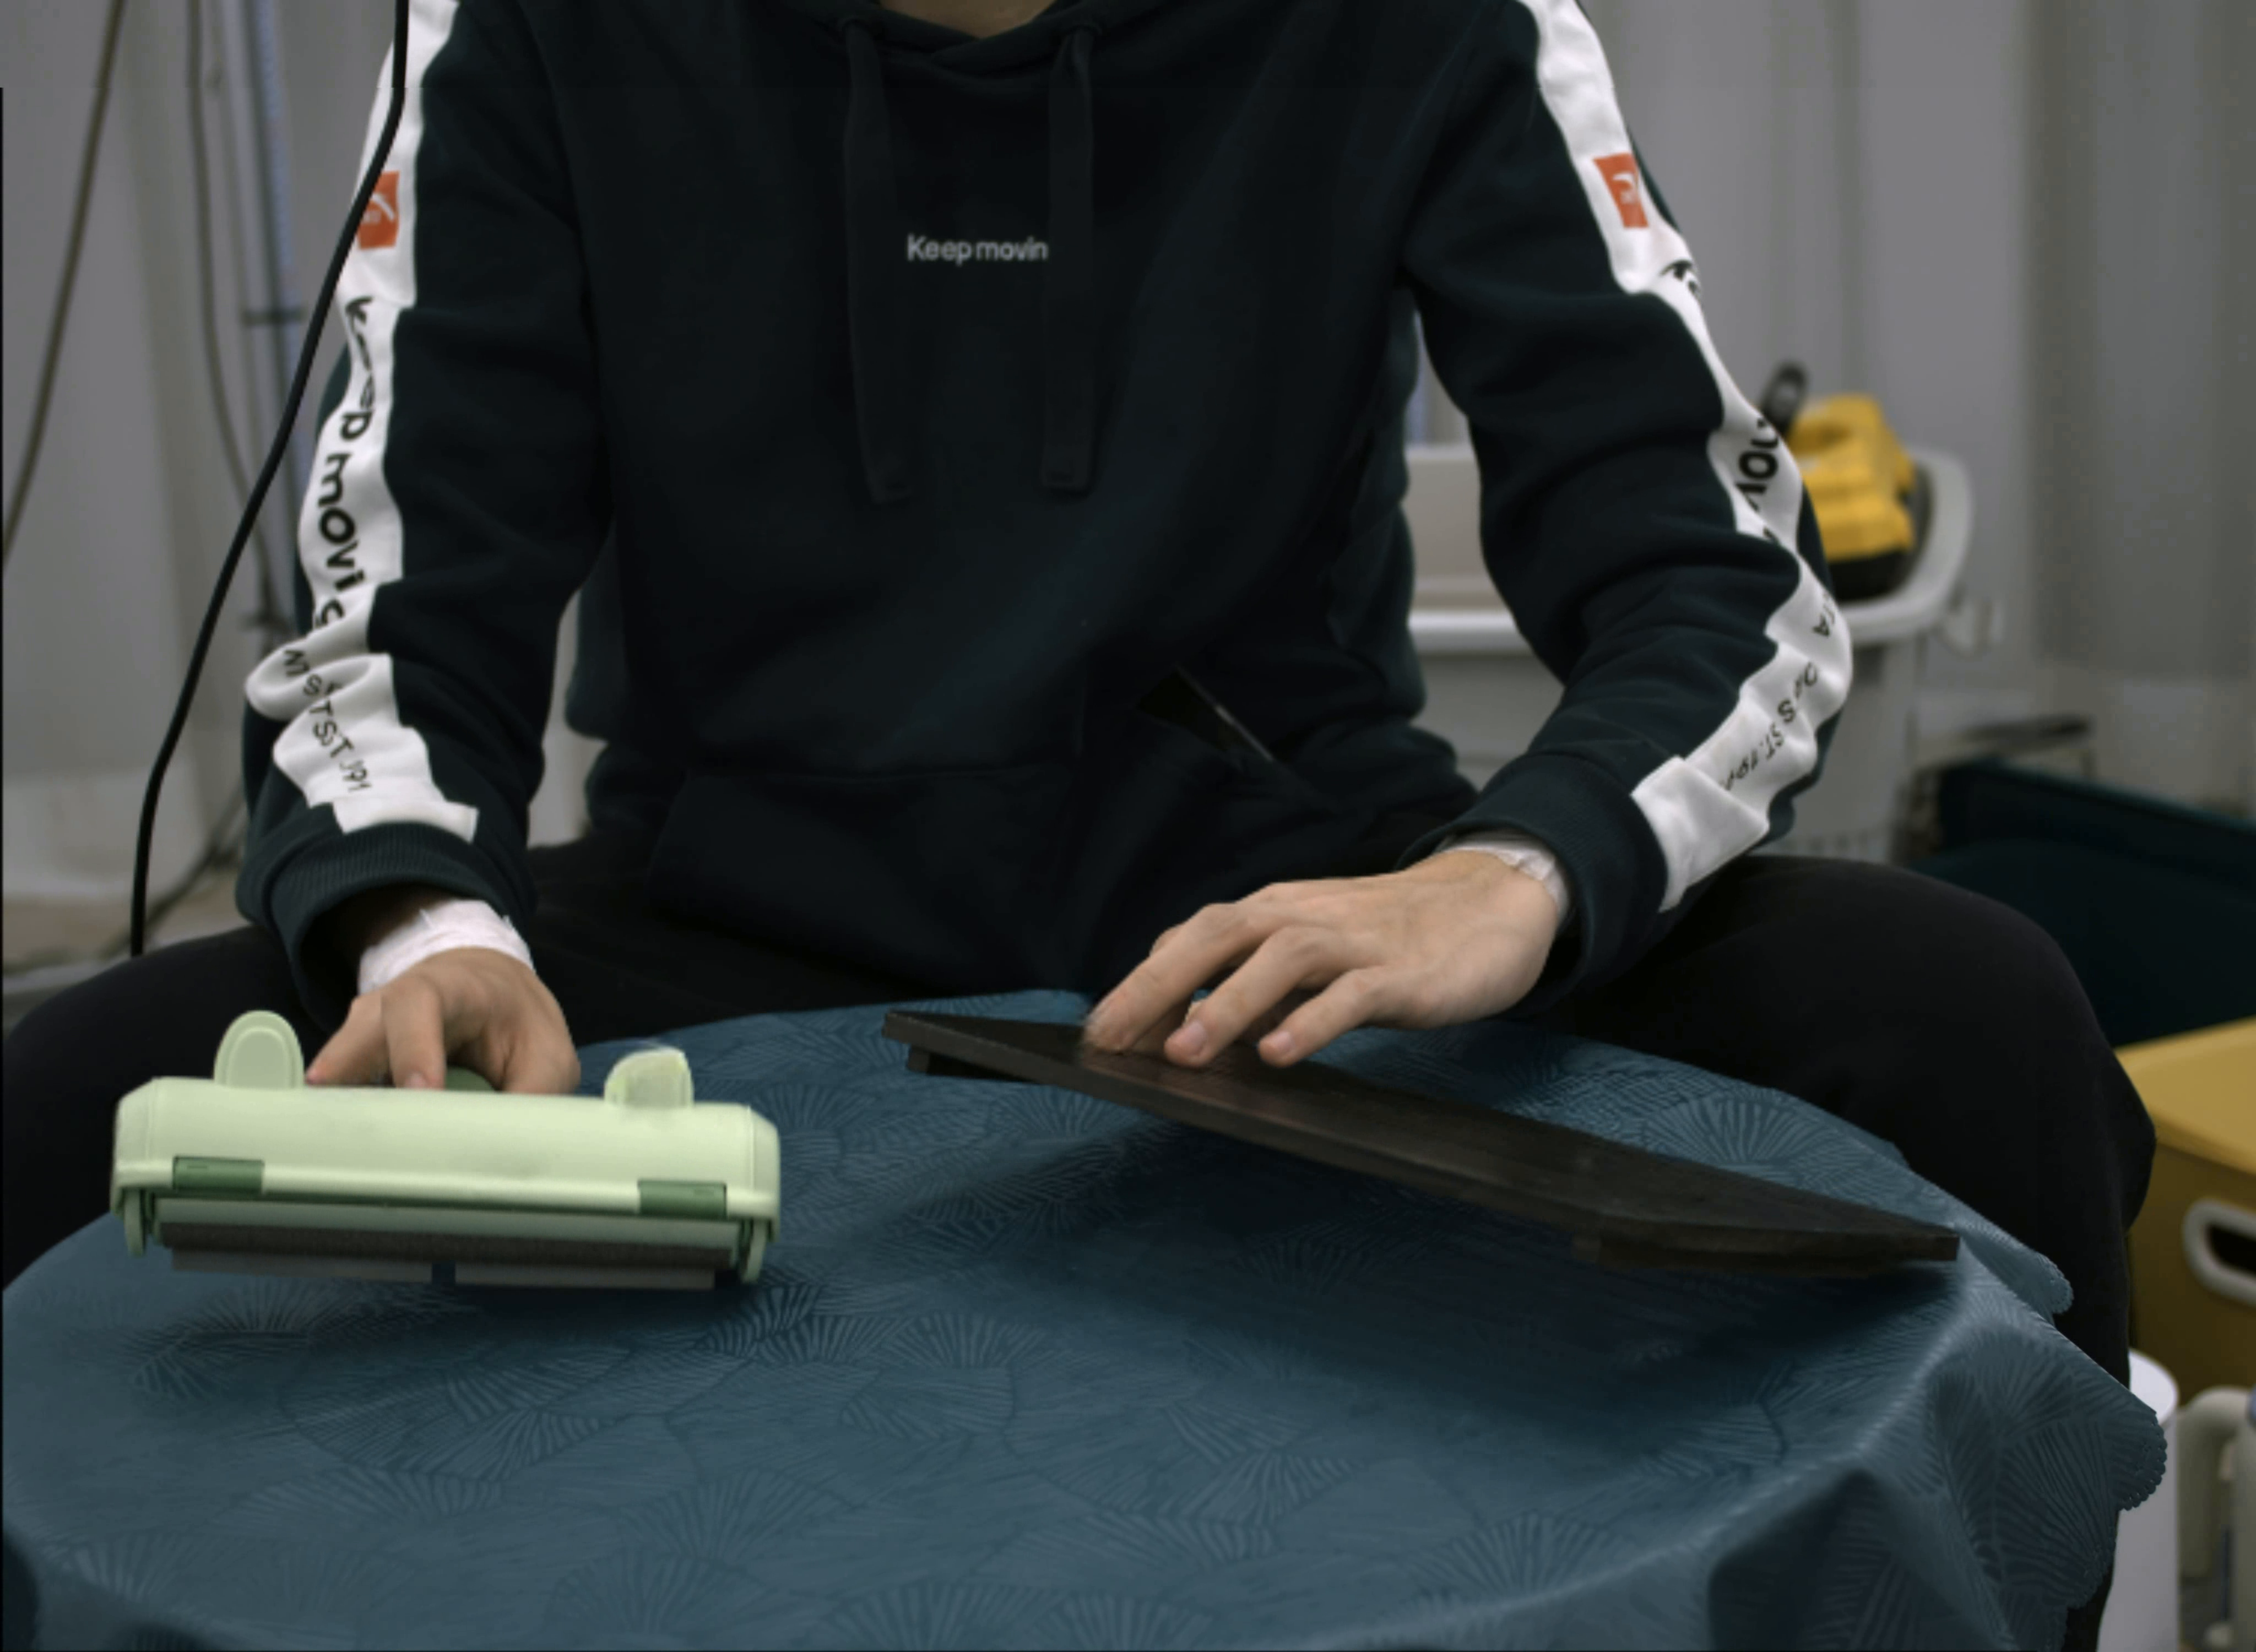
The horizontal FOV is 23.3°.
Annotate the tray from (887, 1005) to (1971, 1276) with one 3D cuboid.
[{"bbox_3d":[0.085,0.095,1.640,0.307,0.018,0.169,13,4,43],"label":"tray"}]

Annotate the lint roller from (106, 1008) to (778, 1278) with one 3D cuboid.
[{"bbox_3d":[-0.209,0.082,1.681,0.198,0.082,0.185,2,16,-7],"label":"lint roller"}]
